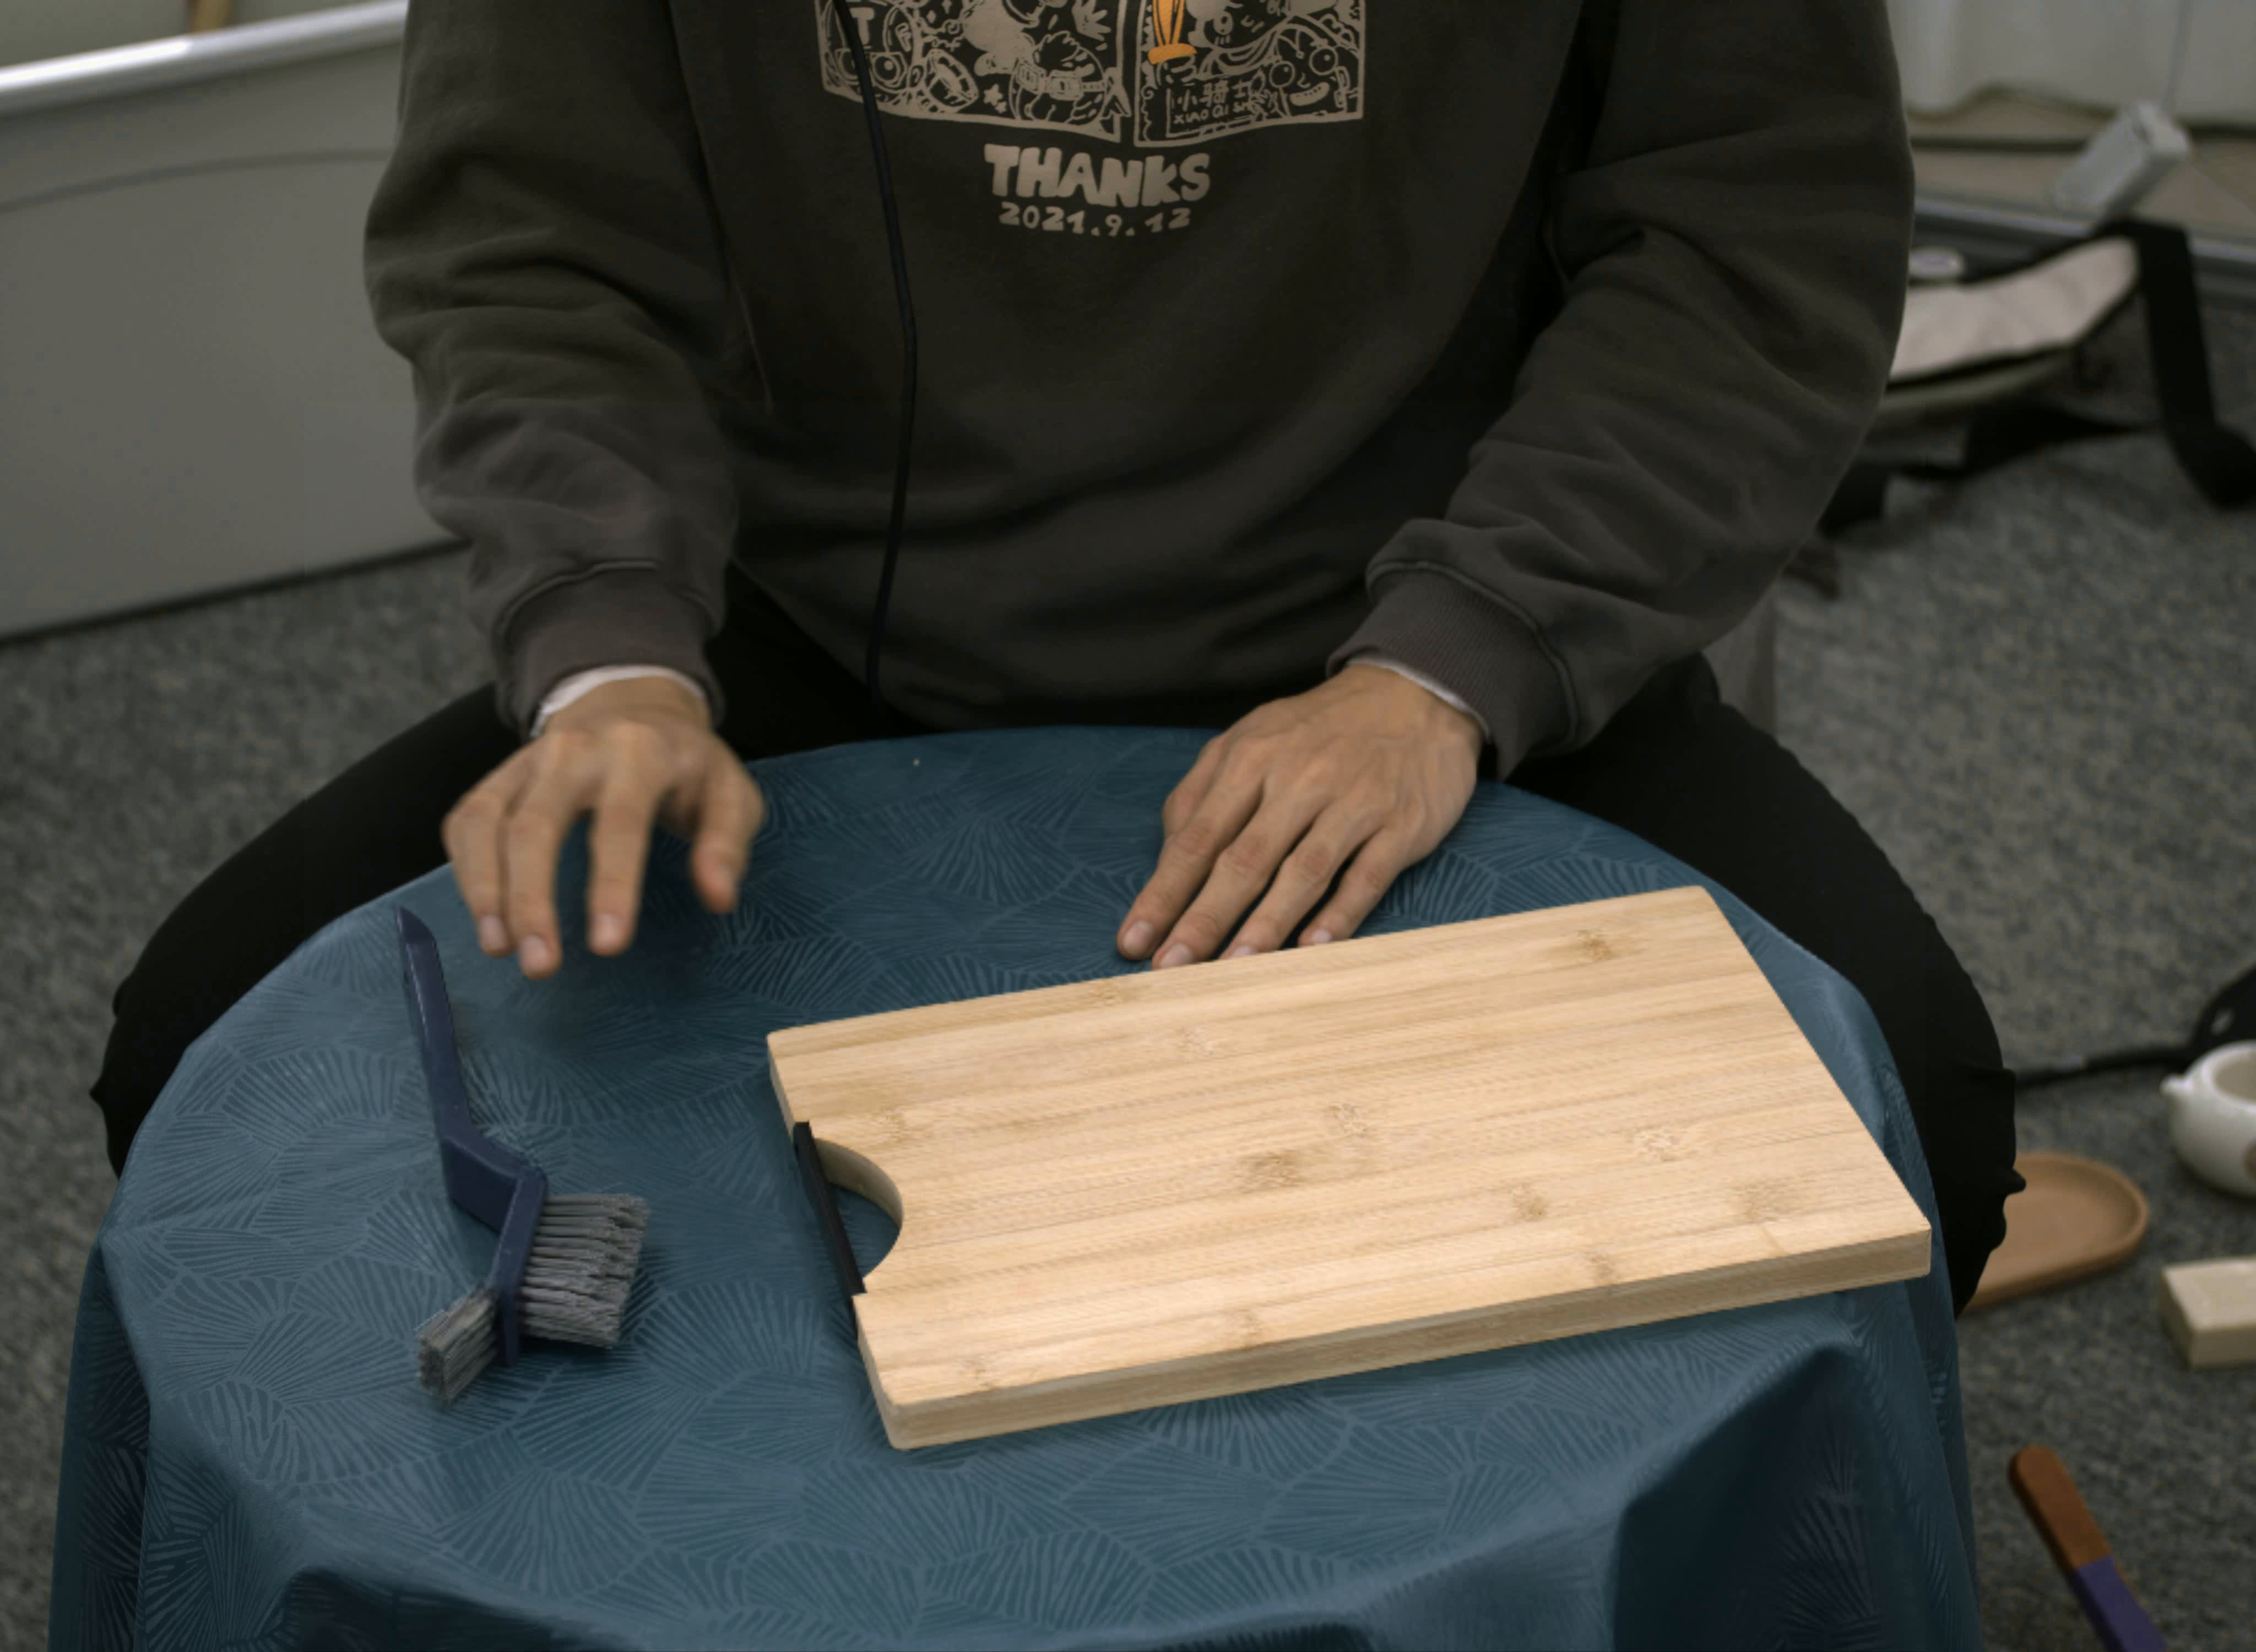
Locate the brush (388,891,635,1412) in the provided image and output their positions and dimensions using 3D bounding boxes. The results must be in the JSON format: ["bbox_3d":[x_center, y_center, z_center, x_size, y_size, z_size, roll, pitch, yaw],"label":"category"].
[{"bbox_3d":[-0.231,0.104,1.883,0.096,0.033,0.275,-12,30,-16],"label":"brush"}]

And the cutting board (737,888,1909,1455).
[{"bbox_3d":[0.060,0.109,1.861,0.348,0.023,0.253,-9,28,-11],"label":"cutting board"}]
